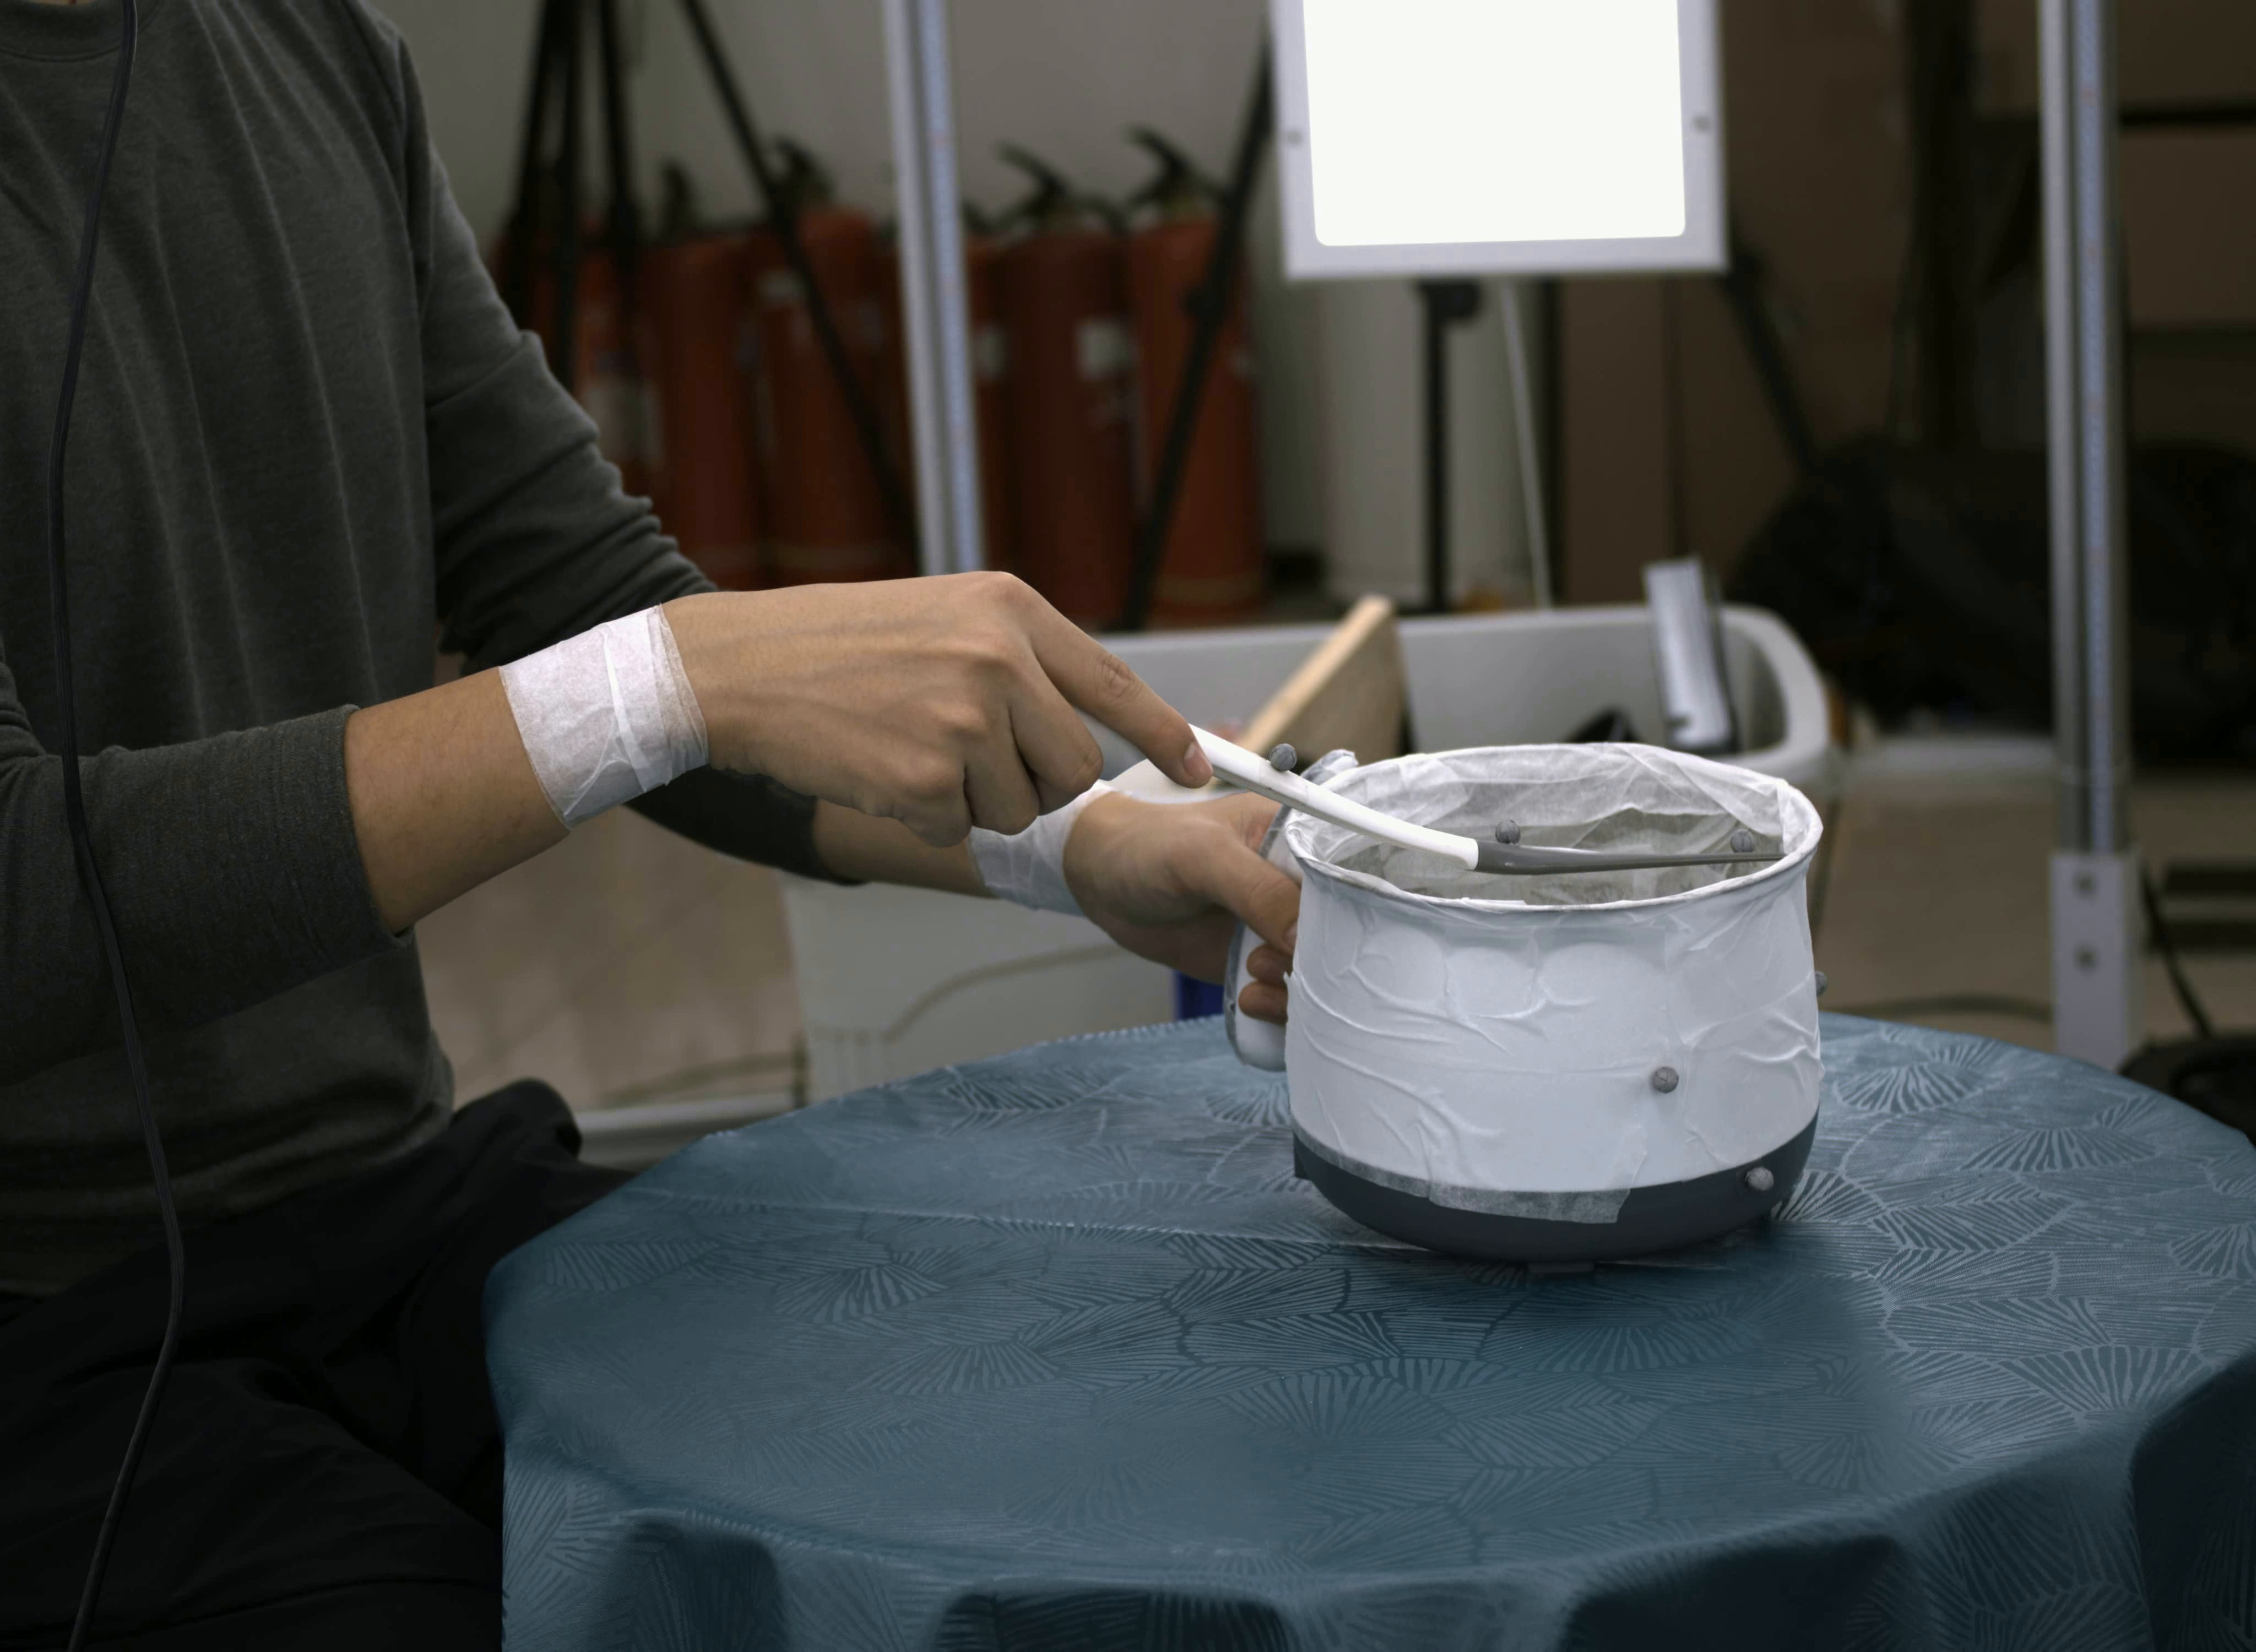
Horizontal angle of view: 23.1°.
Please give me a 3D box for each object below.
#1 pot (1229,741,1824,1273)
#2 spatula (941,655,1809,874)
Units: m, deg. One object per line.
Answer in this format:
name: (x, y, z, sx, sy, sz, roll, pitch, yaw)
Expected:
pot: (0.122, 0.053, 1.841, 0.174, 0.137, 0.238, -17, 23, -40)
spatula: (0.080, -0.010, 1.749, 0.283, 0.032, 0.059, 12, -8, -16)
